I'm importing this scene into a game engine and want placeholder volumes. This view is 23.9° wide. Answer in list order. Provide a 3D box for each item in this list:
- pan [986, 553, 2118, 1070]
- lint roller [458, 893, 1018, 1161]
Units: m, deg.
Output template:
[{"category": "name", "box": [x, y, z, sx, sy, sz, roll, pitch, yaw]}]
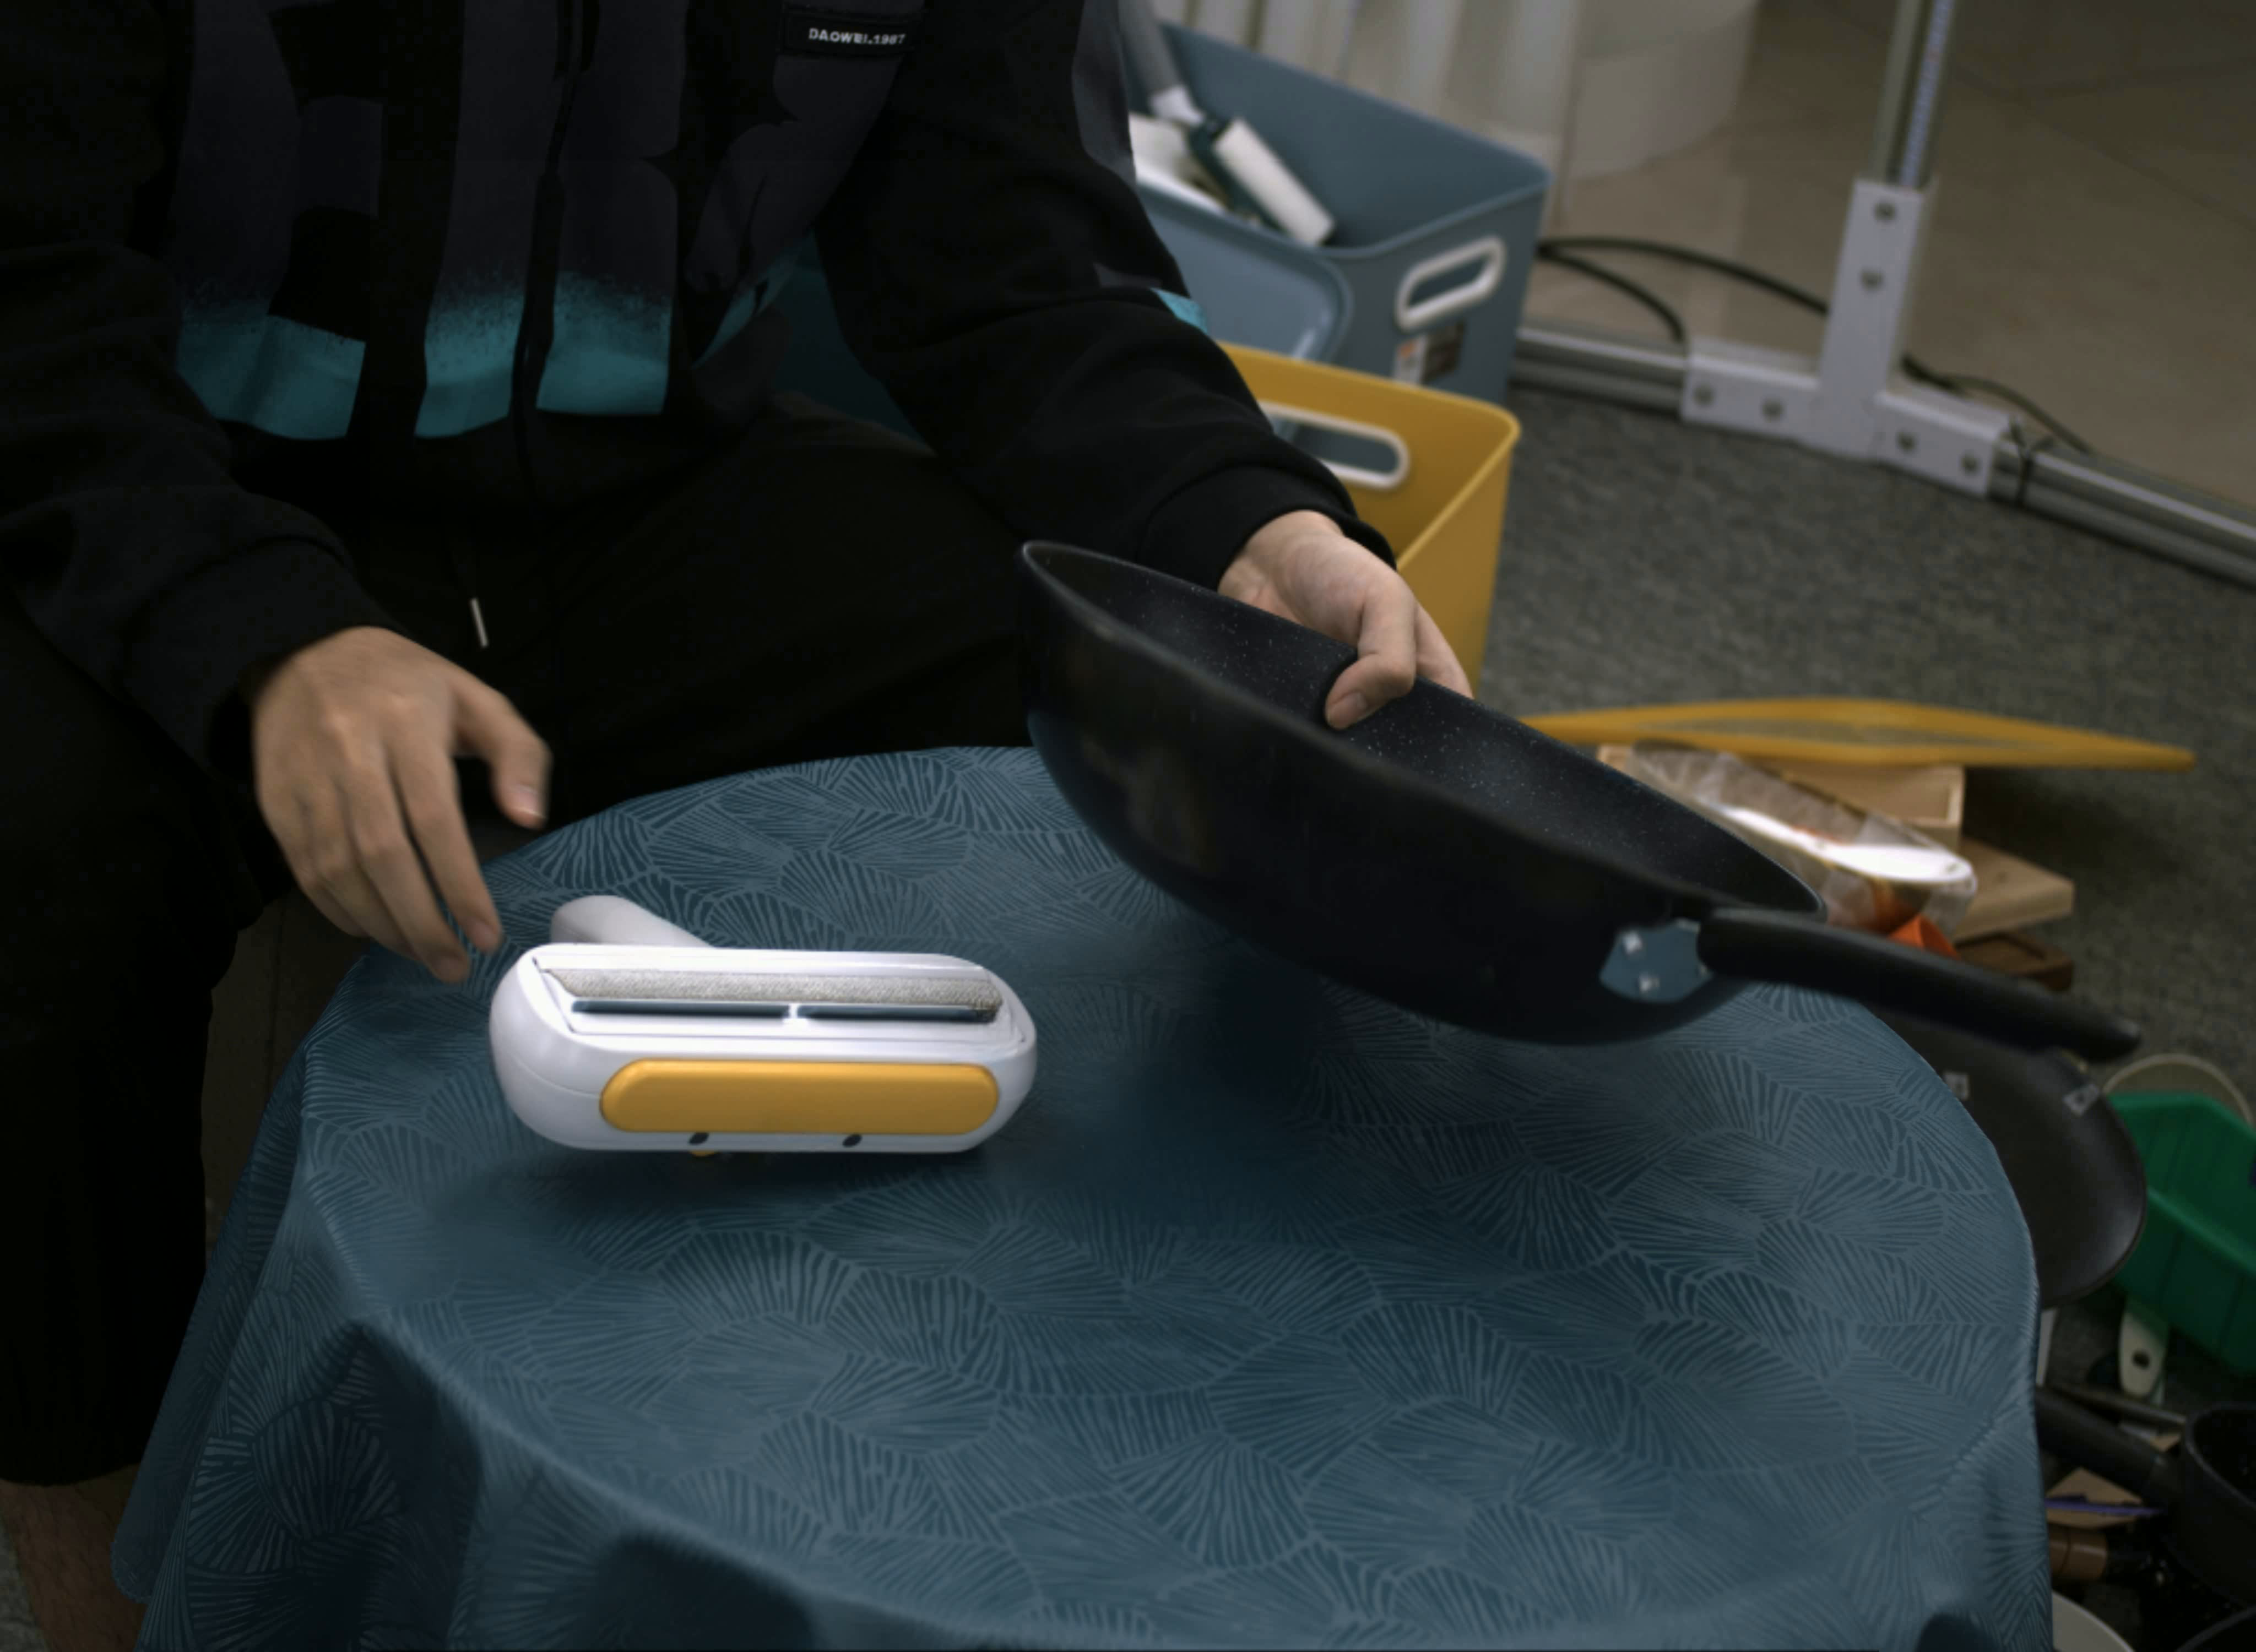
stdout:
[{"category": "pan", "box": [0.135, 0.024, 1.792, 0.307, 0.111, 0.481, 13, 13, -43]}, {"category": "lint roller", "box": [-0.152, 0.056, 1.824, 0.191, 0.074, 0.194, 0, 25, -24]}]
